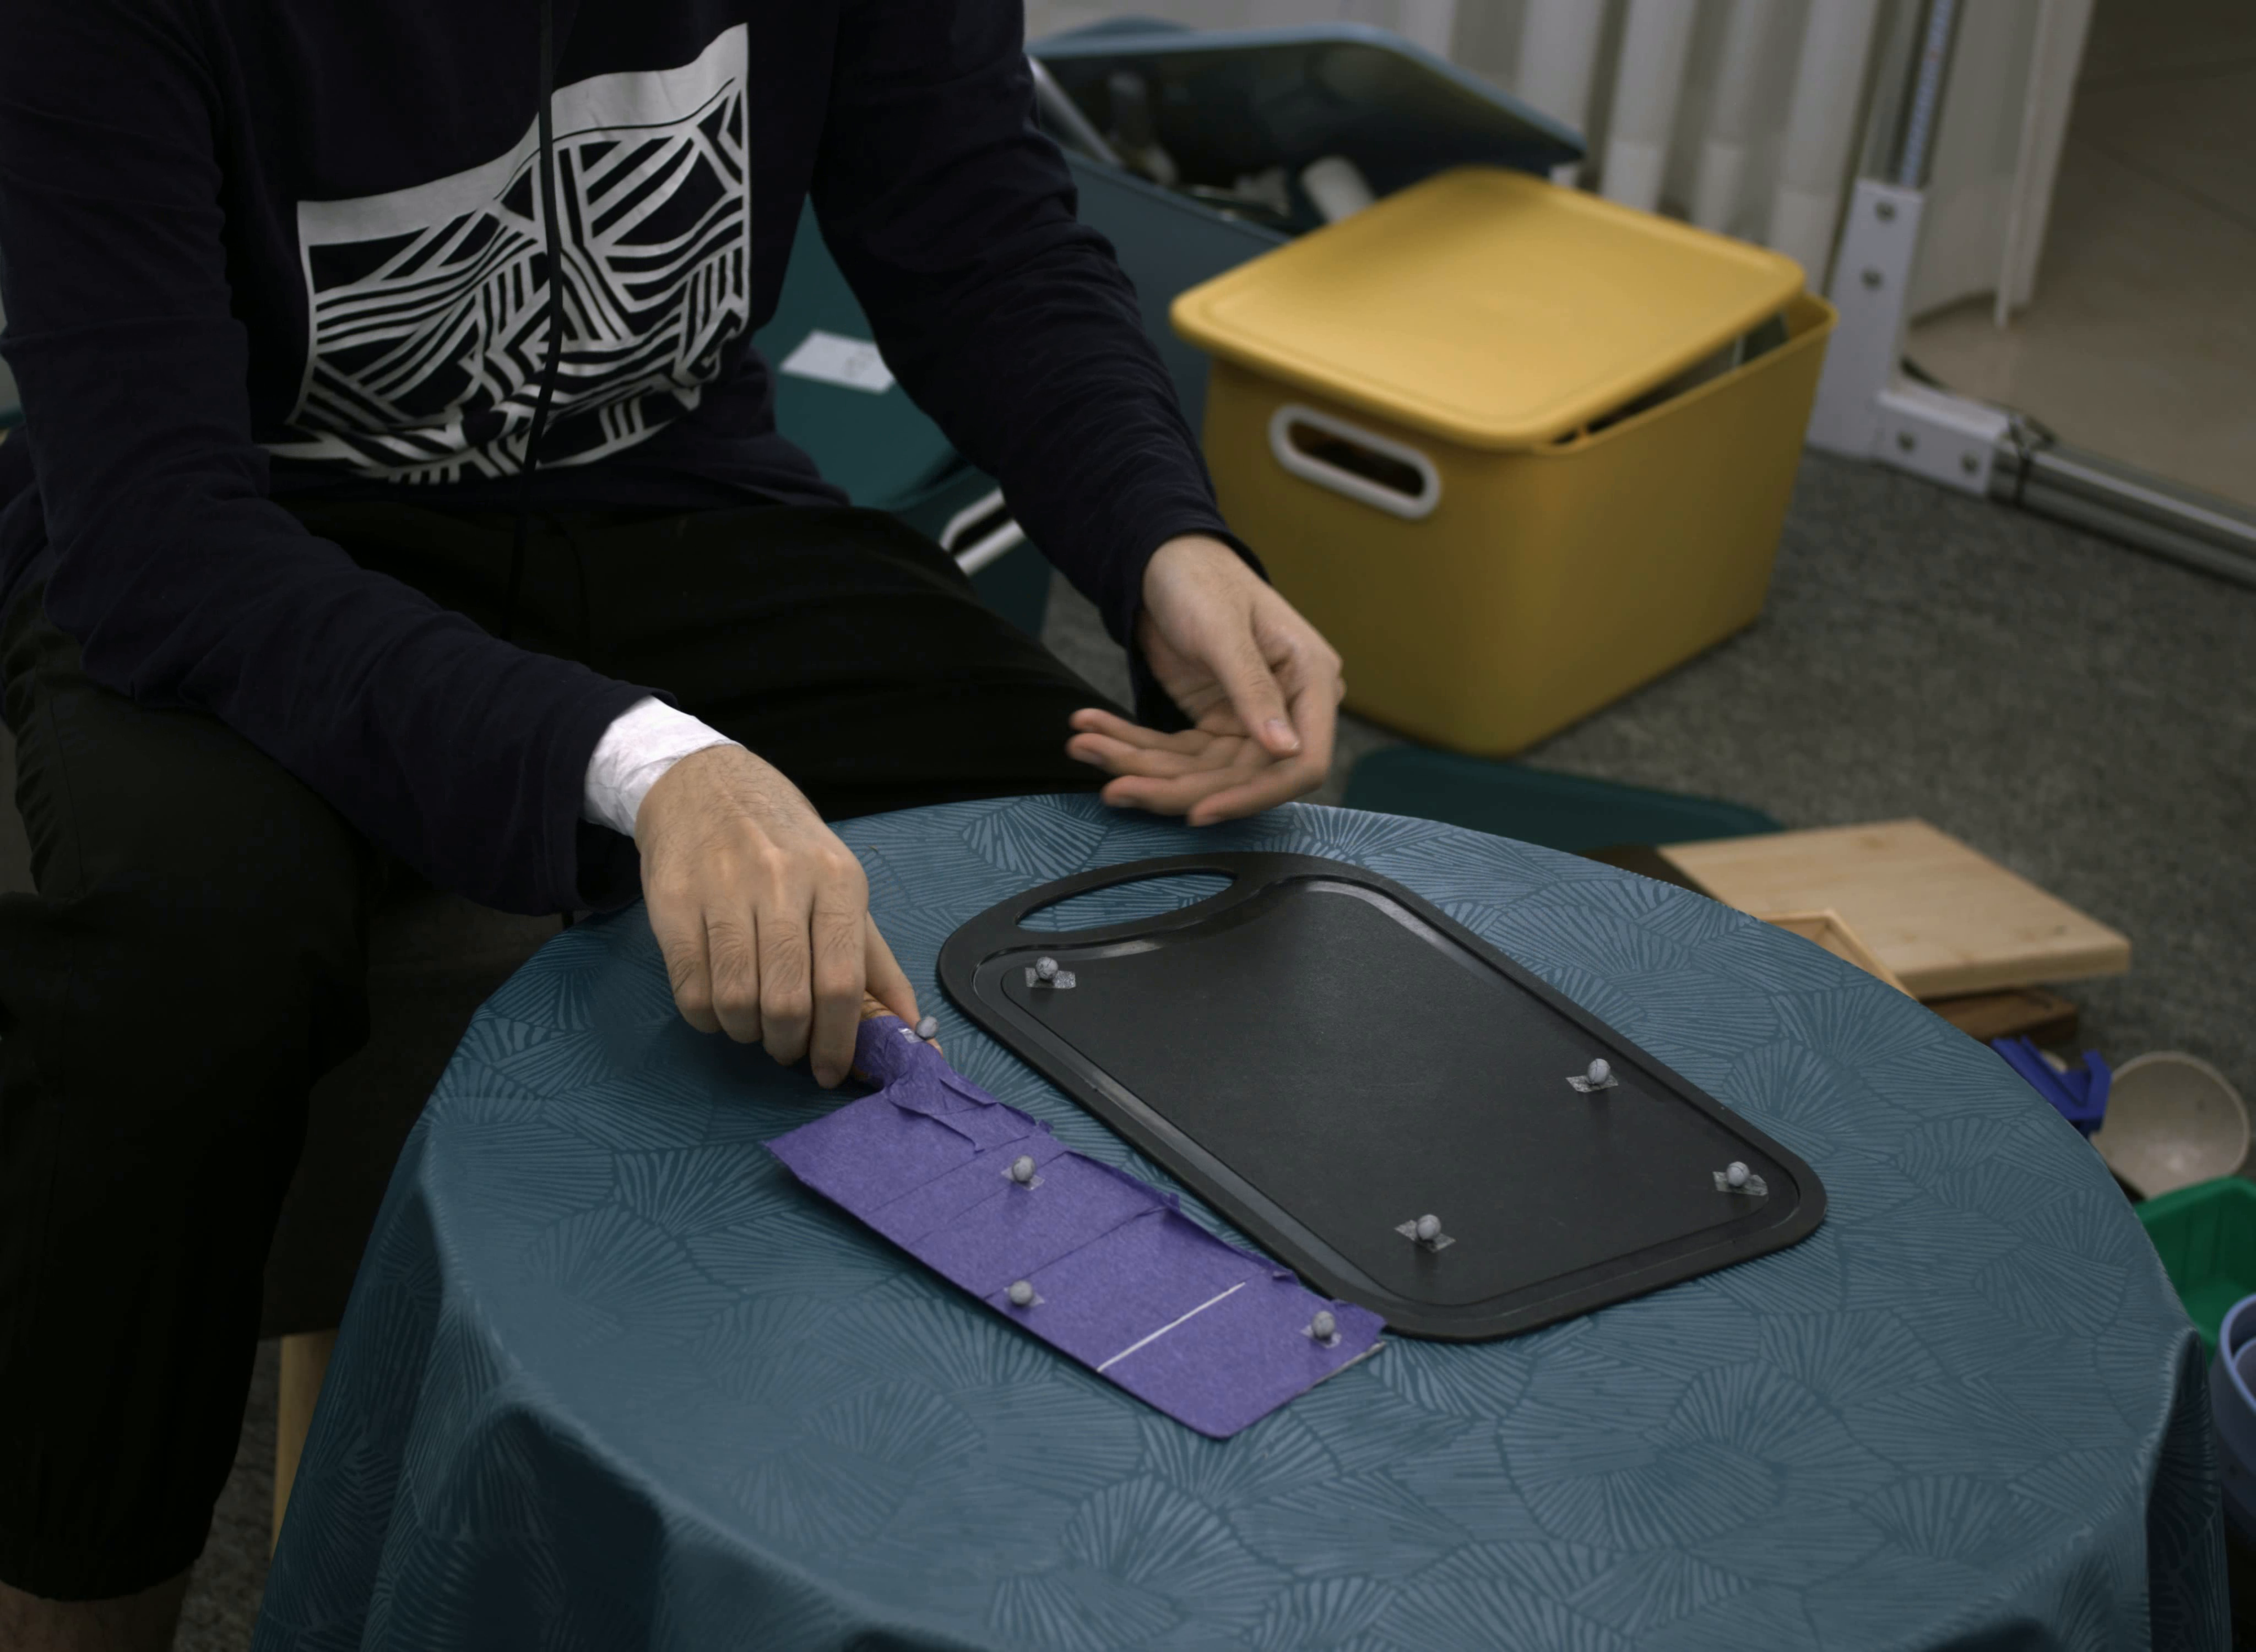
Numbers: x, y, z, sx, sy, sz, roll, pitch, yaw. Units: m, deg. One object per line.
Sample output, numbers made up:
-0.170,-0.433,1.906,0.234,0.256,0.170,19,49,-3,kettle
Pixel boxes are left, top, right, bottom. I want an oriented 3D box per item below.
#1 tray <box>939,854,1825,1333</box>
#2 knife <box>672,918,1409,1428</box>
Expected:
0.081,0.085,1.892,0.210,0.010,0.328,-13,32,-34,tray
-0.055,0.113,1.784,0.317,0.032,0.103,27,32,34,knife
